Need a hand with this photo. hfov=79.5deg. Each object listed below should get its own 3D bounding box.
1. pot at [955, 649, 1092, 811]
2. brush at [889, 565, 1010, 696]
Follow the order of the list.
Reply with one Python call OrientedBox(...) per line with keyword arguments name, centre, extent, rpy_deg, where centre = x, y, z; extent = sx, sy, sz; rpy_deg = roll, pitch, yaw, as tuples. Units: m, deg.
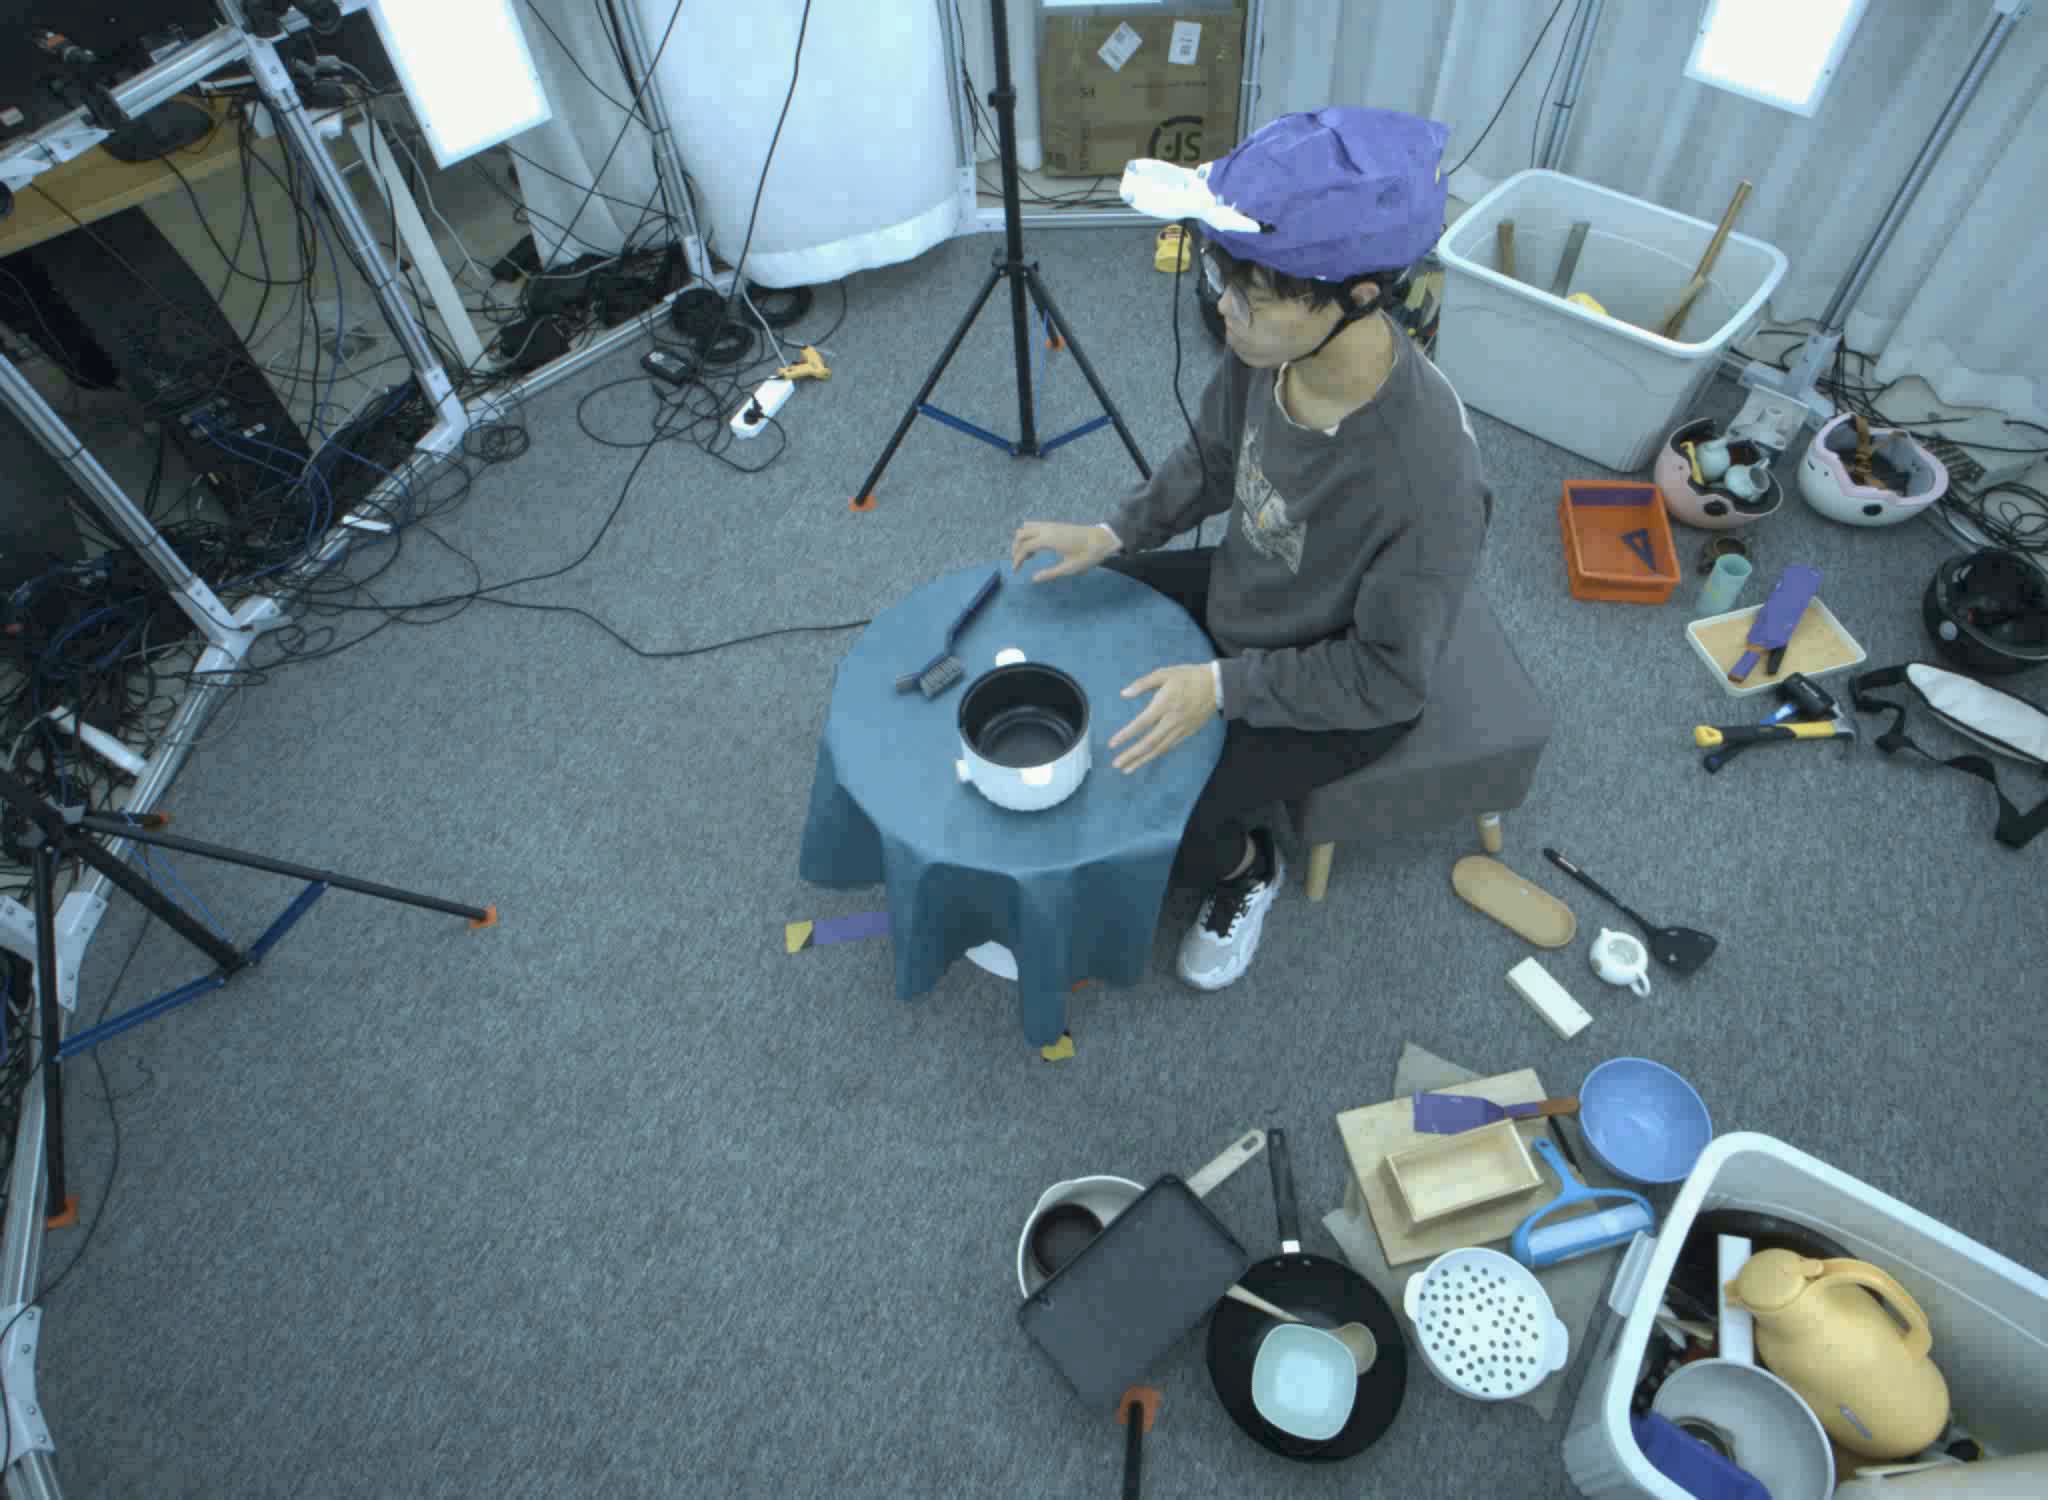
OrientedBox(name="pot", centre=(-0.002, -0.009, 1.705), extent=(0.192, 0.144, 0.236), rpy_deg=(-9, 53, -8))
OrientedBox(name="brush", centre=(-0.108, -0.193, 1.905), extent=(0.095, 0.034, 0.273), rpy_deg=(21, 60, 13))
